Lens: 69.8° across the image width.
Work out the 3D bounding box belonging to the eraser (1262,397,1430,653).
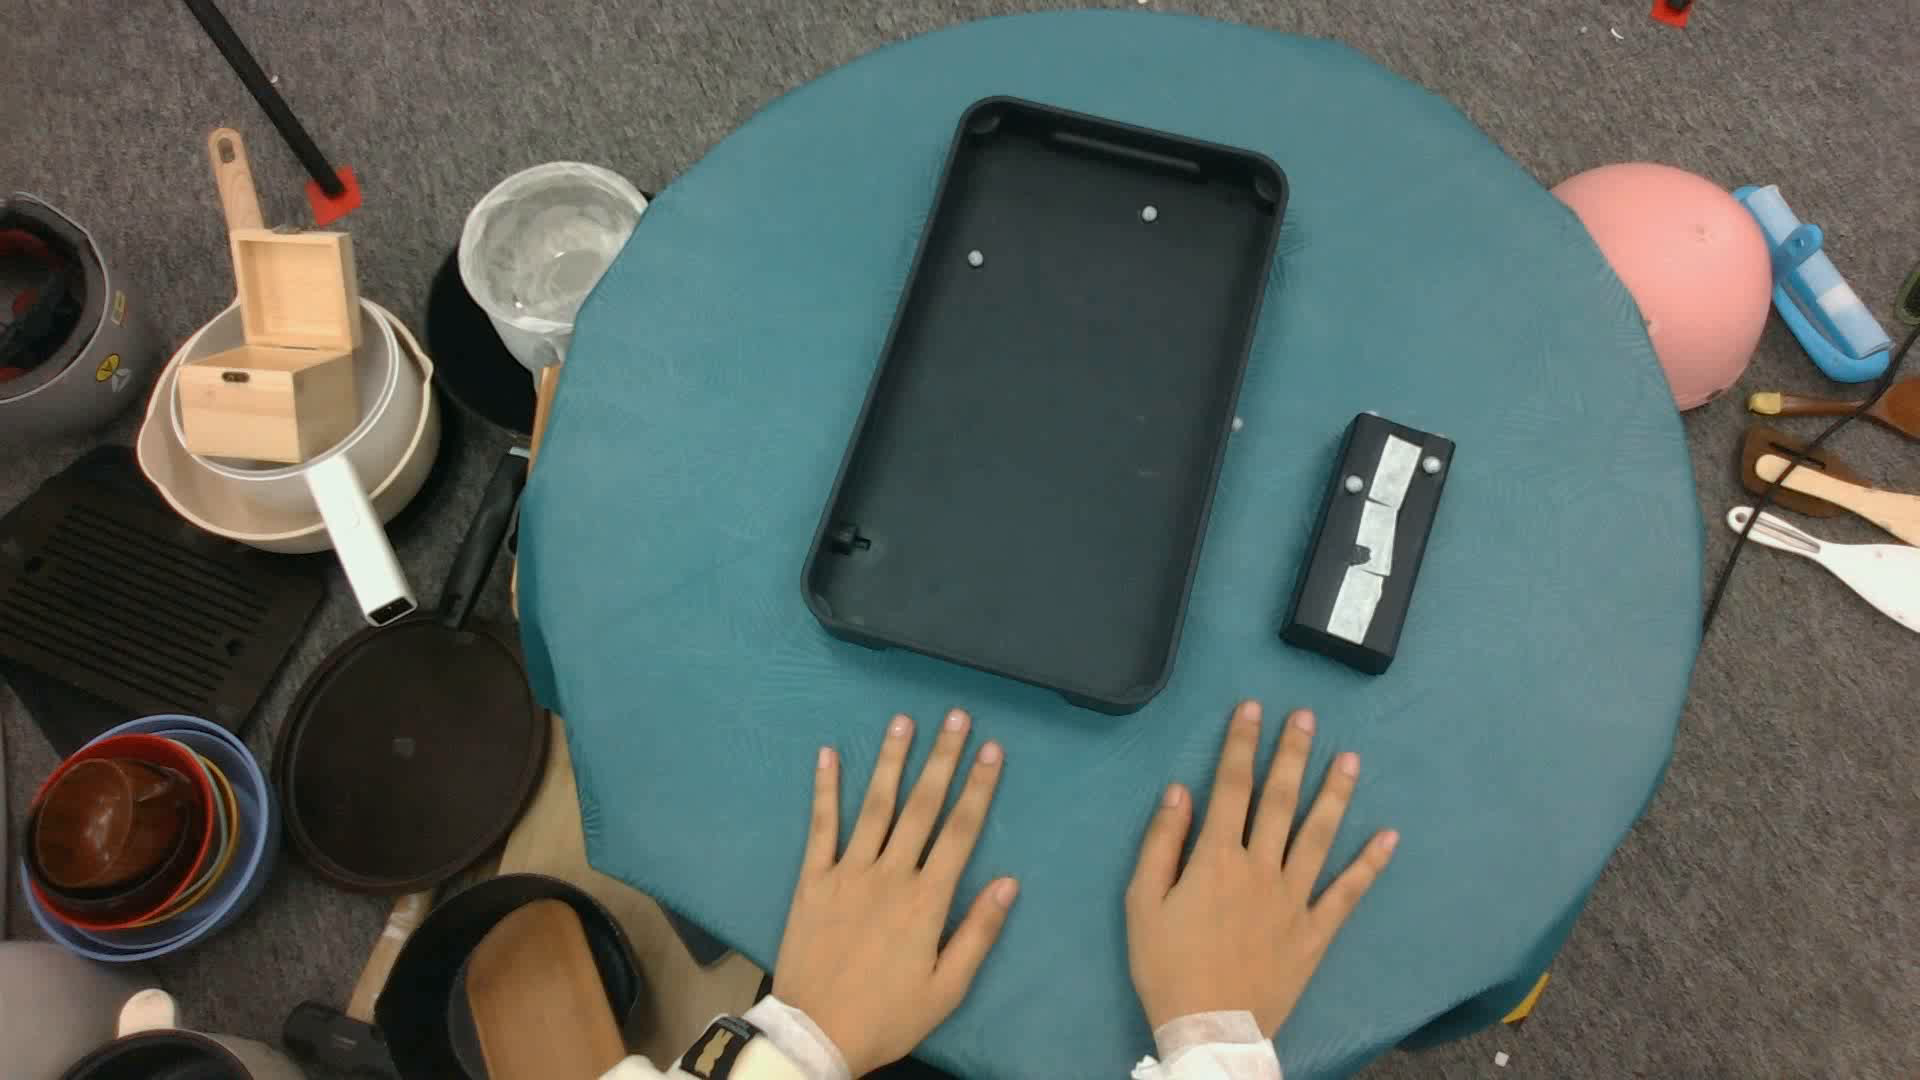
[{"bbox_3d":[0.193,-0.009,0.689,0.053,0.030,0.126,18,70,10],"label":"eraser"}]

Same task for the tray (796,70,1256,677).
[{"bbox_3d":[0.041,-0.096,0.715,0.184,0.037,0.319,12,69,4],"label":"tray"}]
